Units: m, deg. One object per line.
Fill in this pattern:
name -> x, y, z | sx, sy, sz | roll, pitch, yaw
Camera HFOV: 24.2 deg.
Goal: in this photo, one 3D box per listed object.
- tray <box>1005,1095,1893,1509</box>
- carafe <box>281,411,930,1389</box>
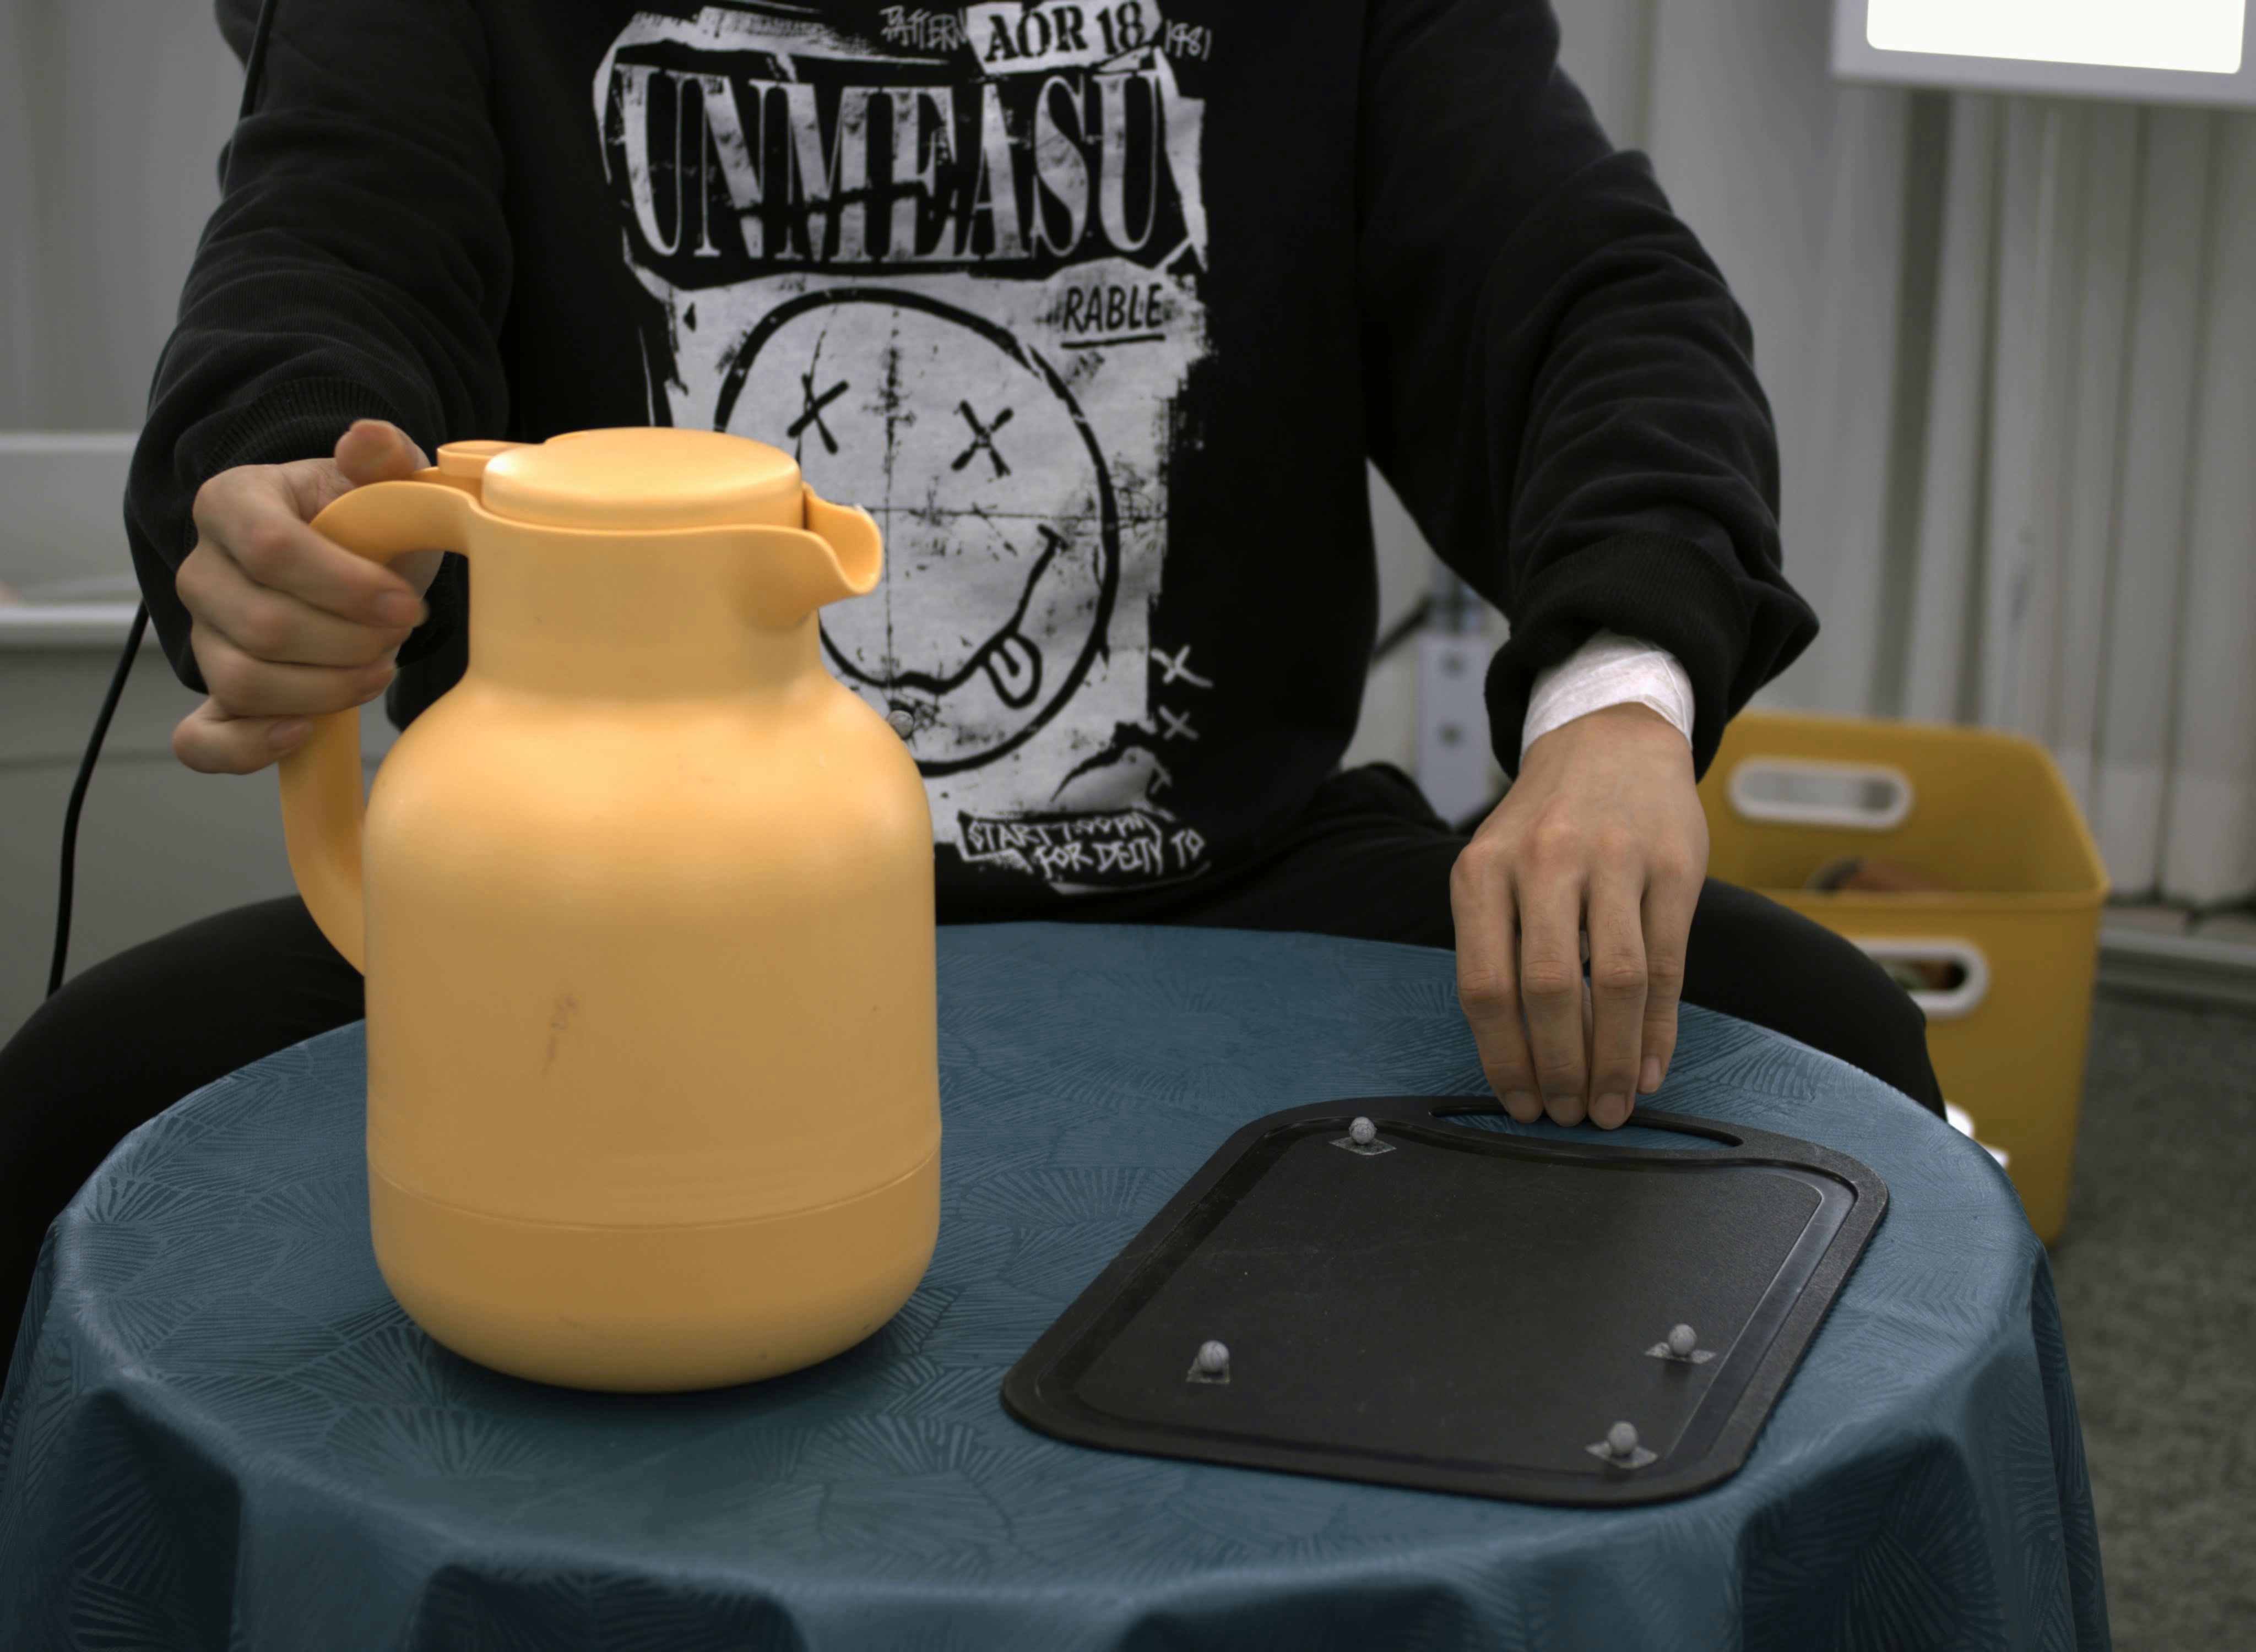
tray -> 0.102, 0.130, 1.549 | 0.209, 0.010, 0.325 | 6, 16, 17
carafe -> -0.151, 0.013, 1.481 | 0.200, 0.262, 0.164 | 12, 17, 30
